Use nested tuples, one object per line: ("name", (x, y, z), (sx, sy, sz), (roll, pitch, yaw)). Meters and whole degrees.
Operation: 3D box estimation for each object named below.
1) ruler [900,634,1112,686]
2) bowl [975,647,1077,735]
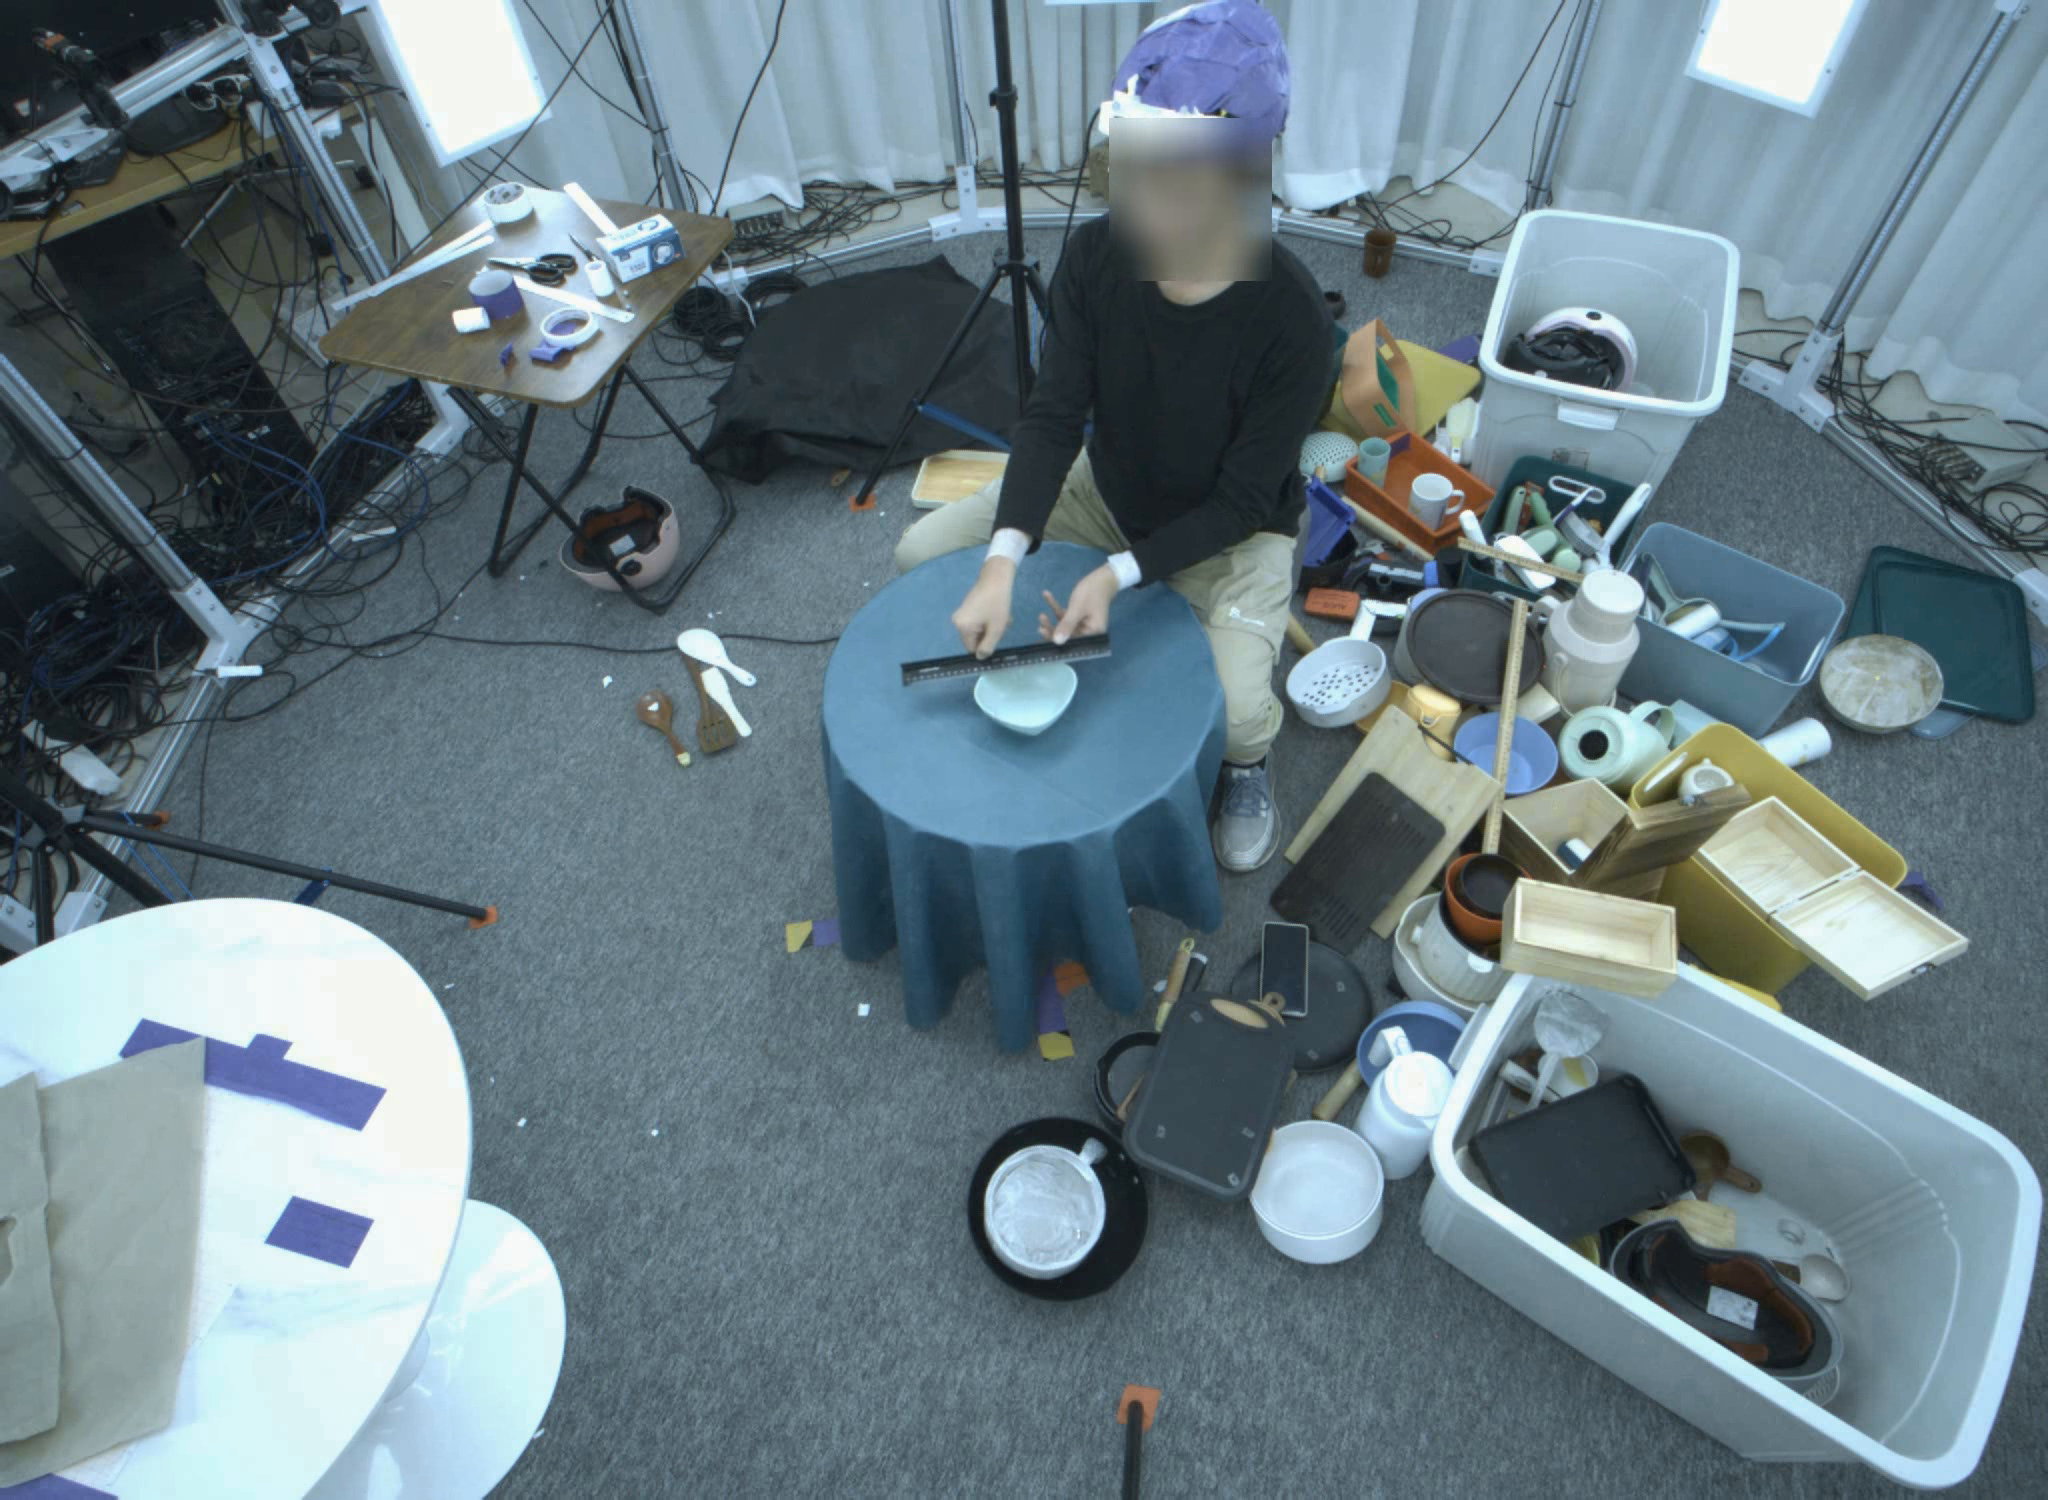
("ruler", (-0.029, -0.134, 1.799), (0.312, 0.017, 0.039), (-8, 62, 2))
("bowl", (0.005, -0.077, 1.809), (0.151, 0.059, 0.150), (-1, 56, 3))
